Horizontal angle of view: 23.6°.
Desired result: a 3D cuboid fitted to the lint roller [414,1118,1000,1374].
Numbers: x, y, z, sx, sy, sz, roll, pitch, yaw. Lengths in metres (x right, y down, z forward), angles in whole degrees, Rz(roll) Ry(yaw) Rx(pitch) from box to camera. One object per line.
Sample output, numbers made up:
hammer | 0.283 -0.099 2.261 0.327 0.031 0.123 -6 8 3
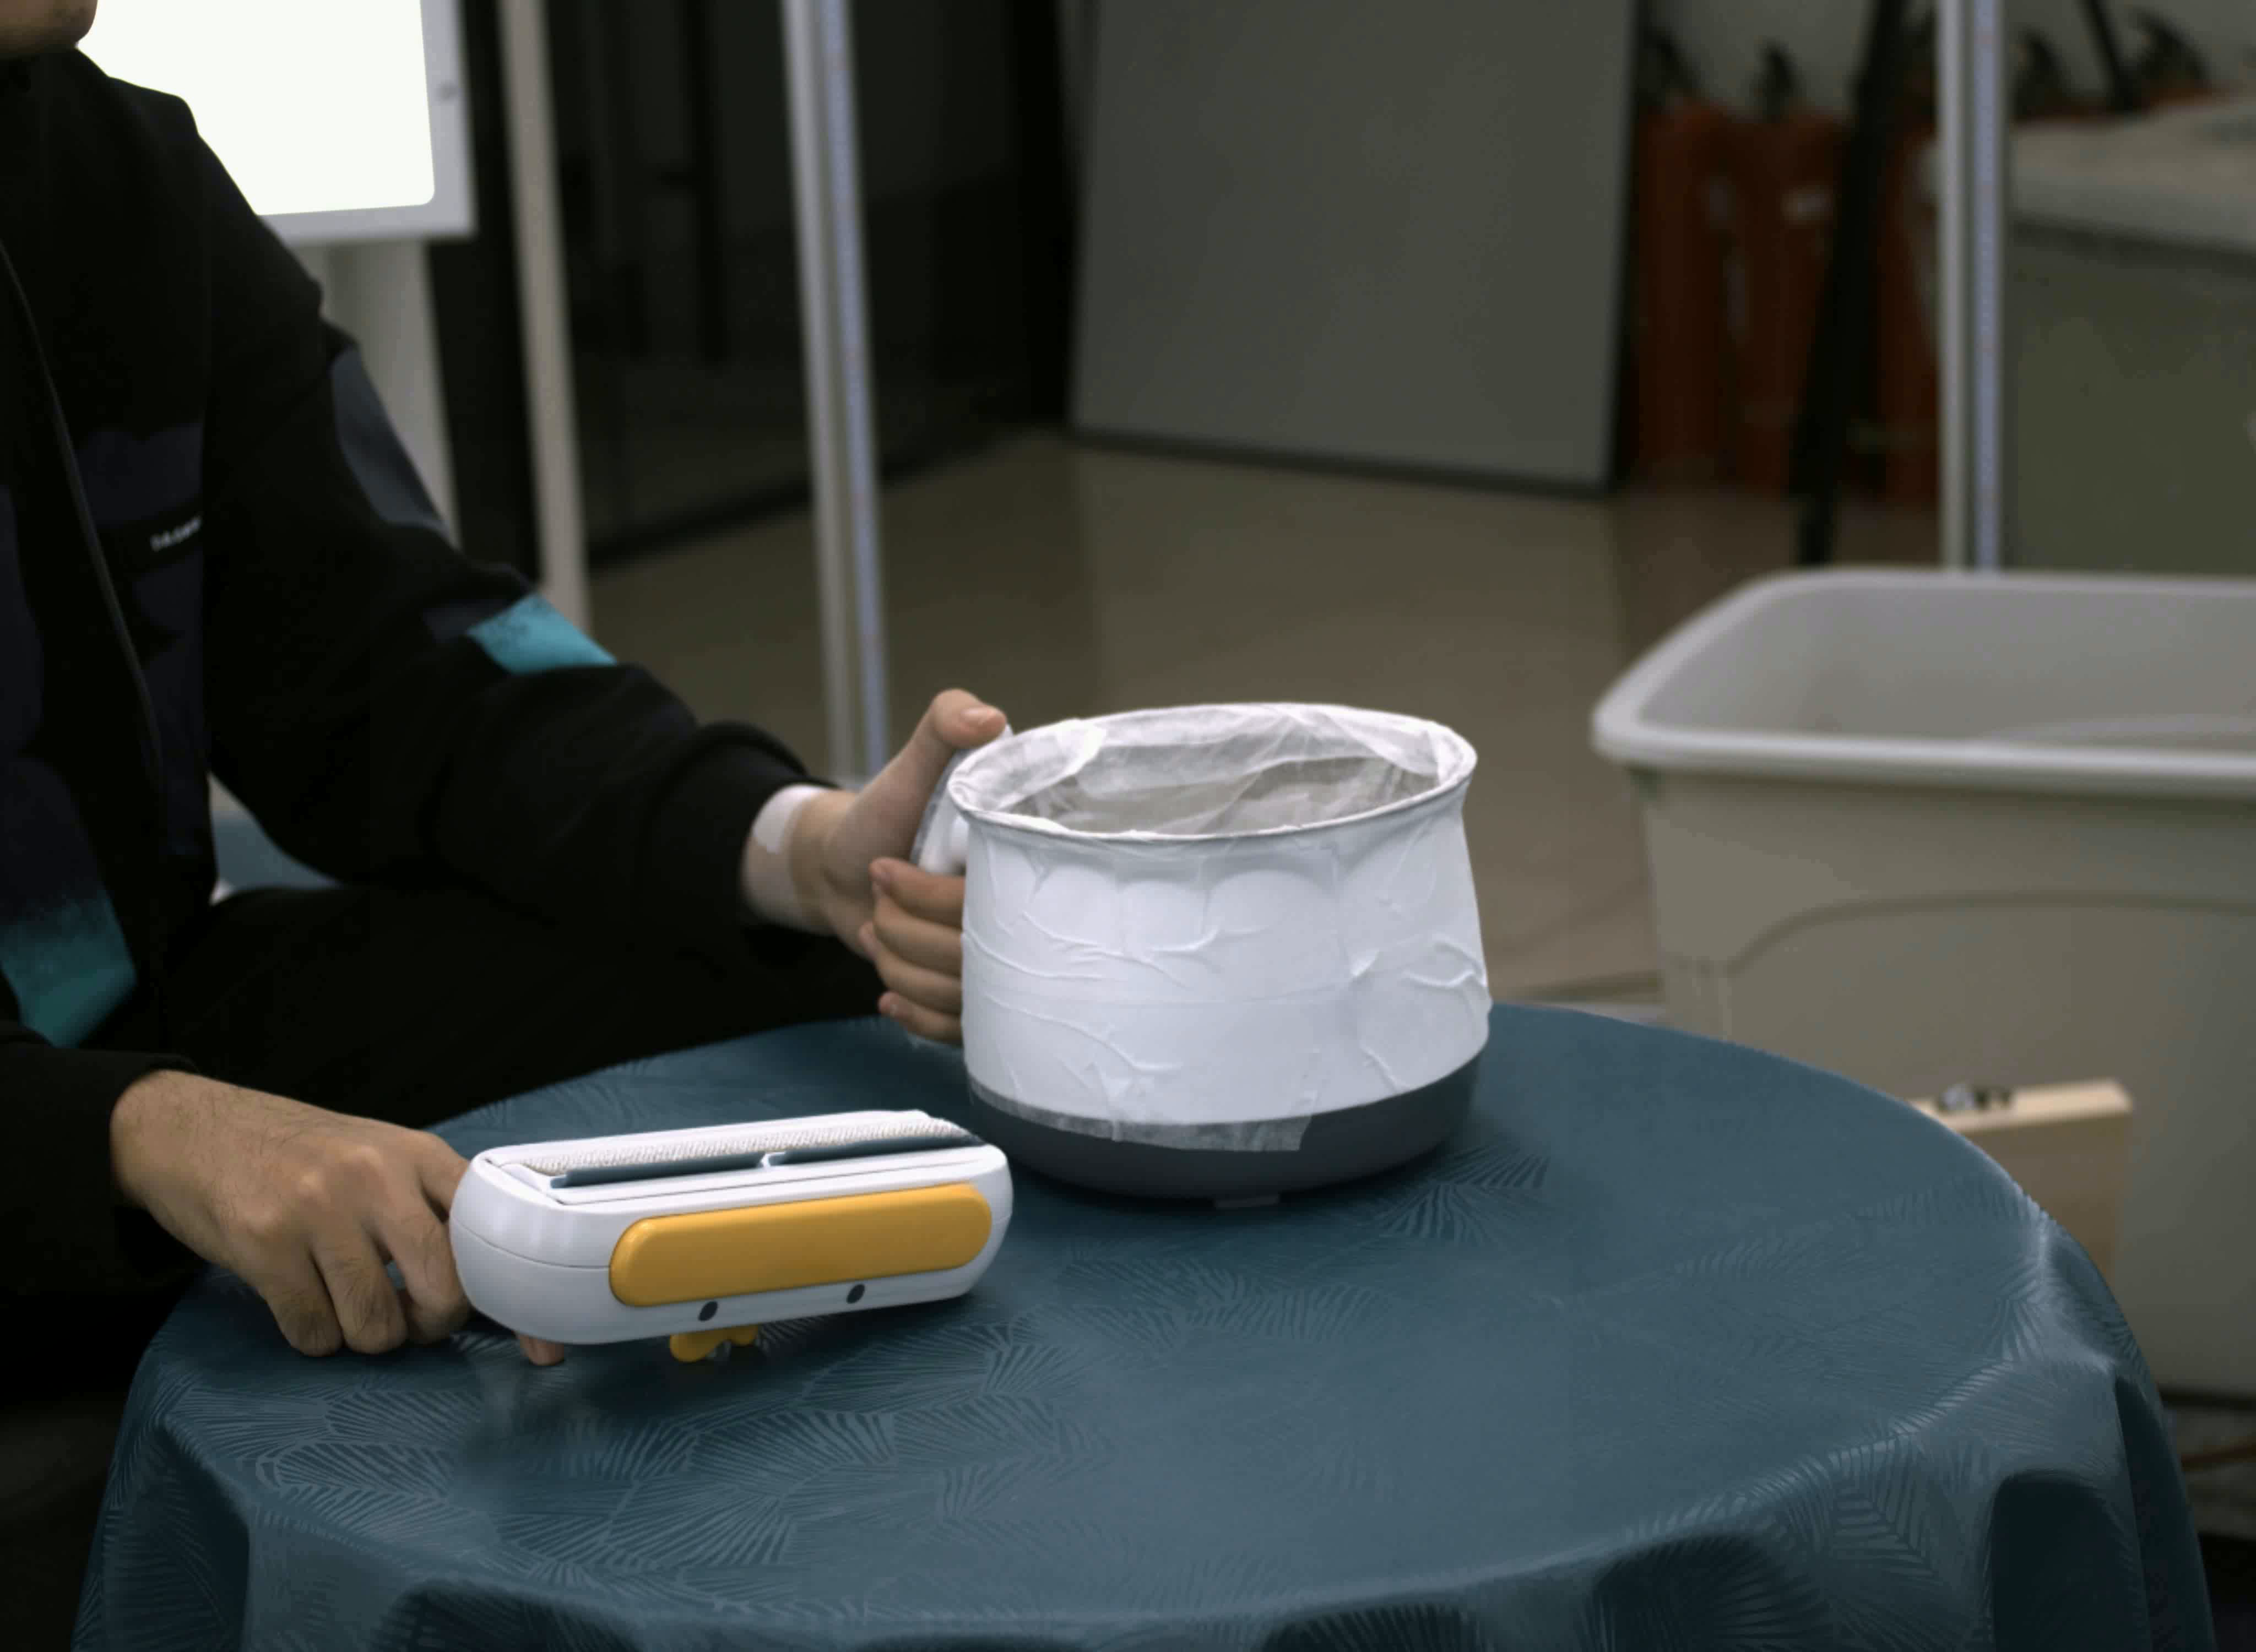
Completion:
lint roller | -0.159 0.121 1.678 0.188 0.075 0.194 -8 11 -37

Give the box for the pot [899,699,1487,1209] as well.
pot | 0.011 0.037 1.814 0.235 0.138 0.175 10 18 41
